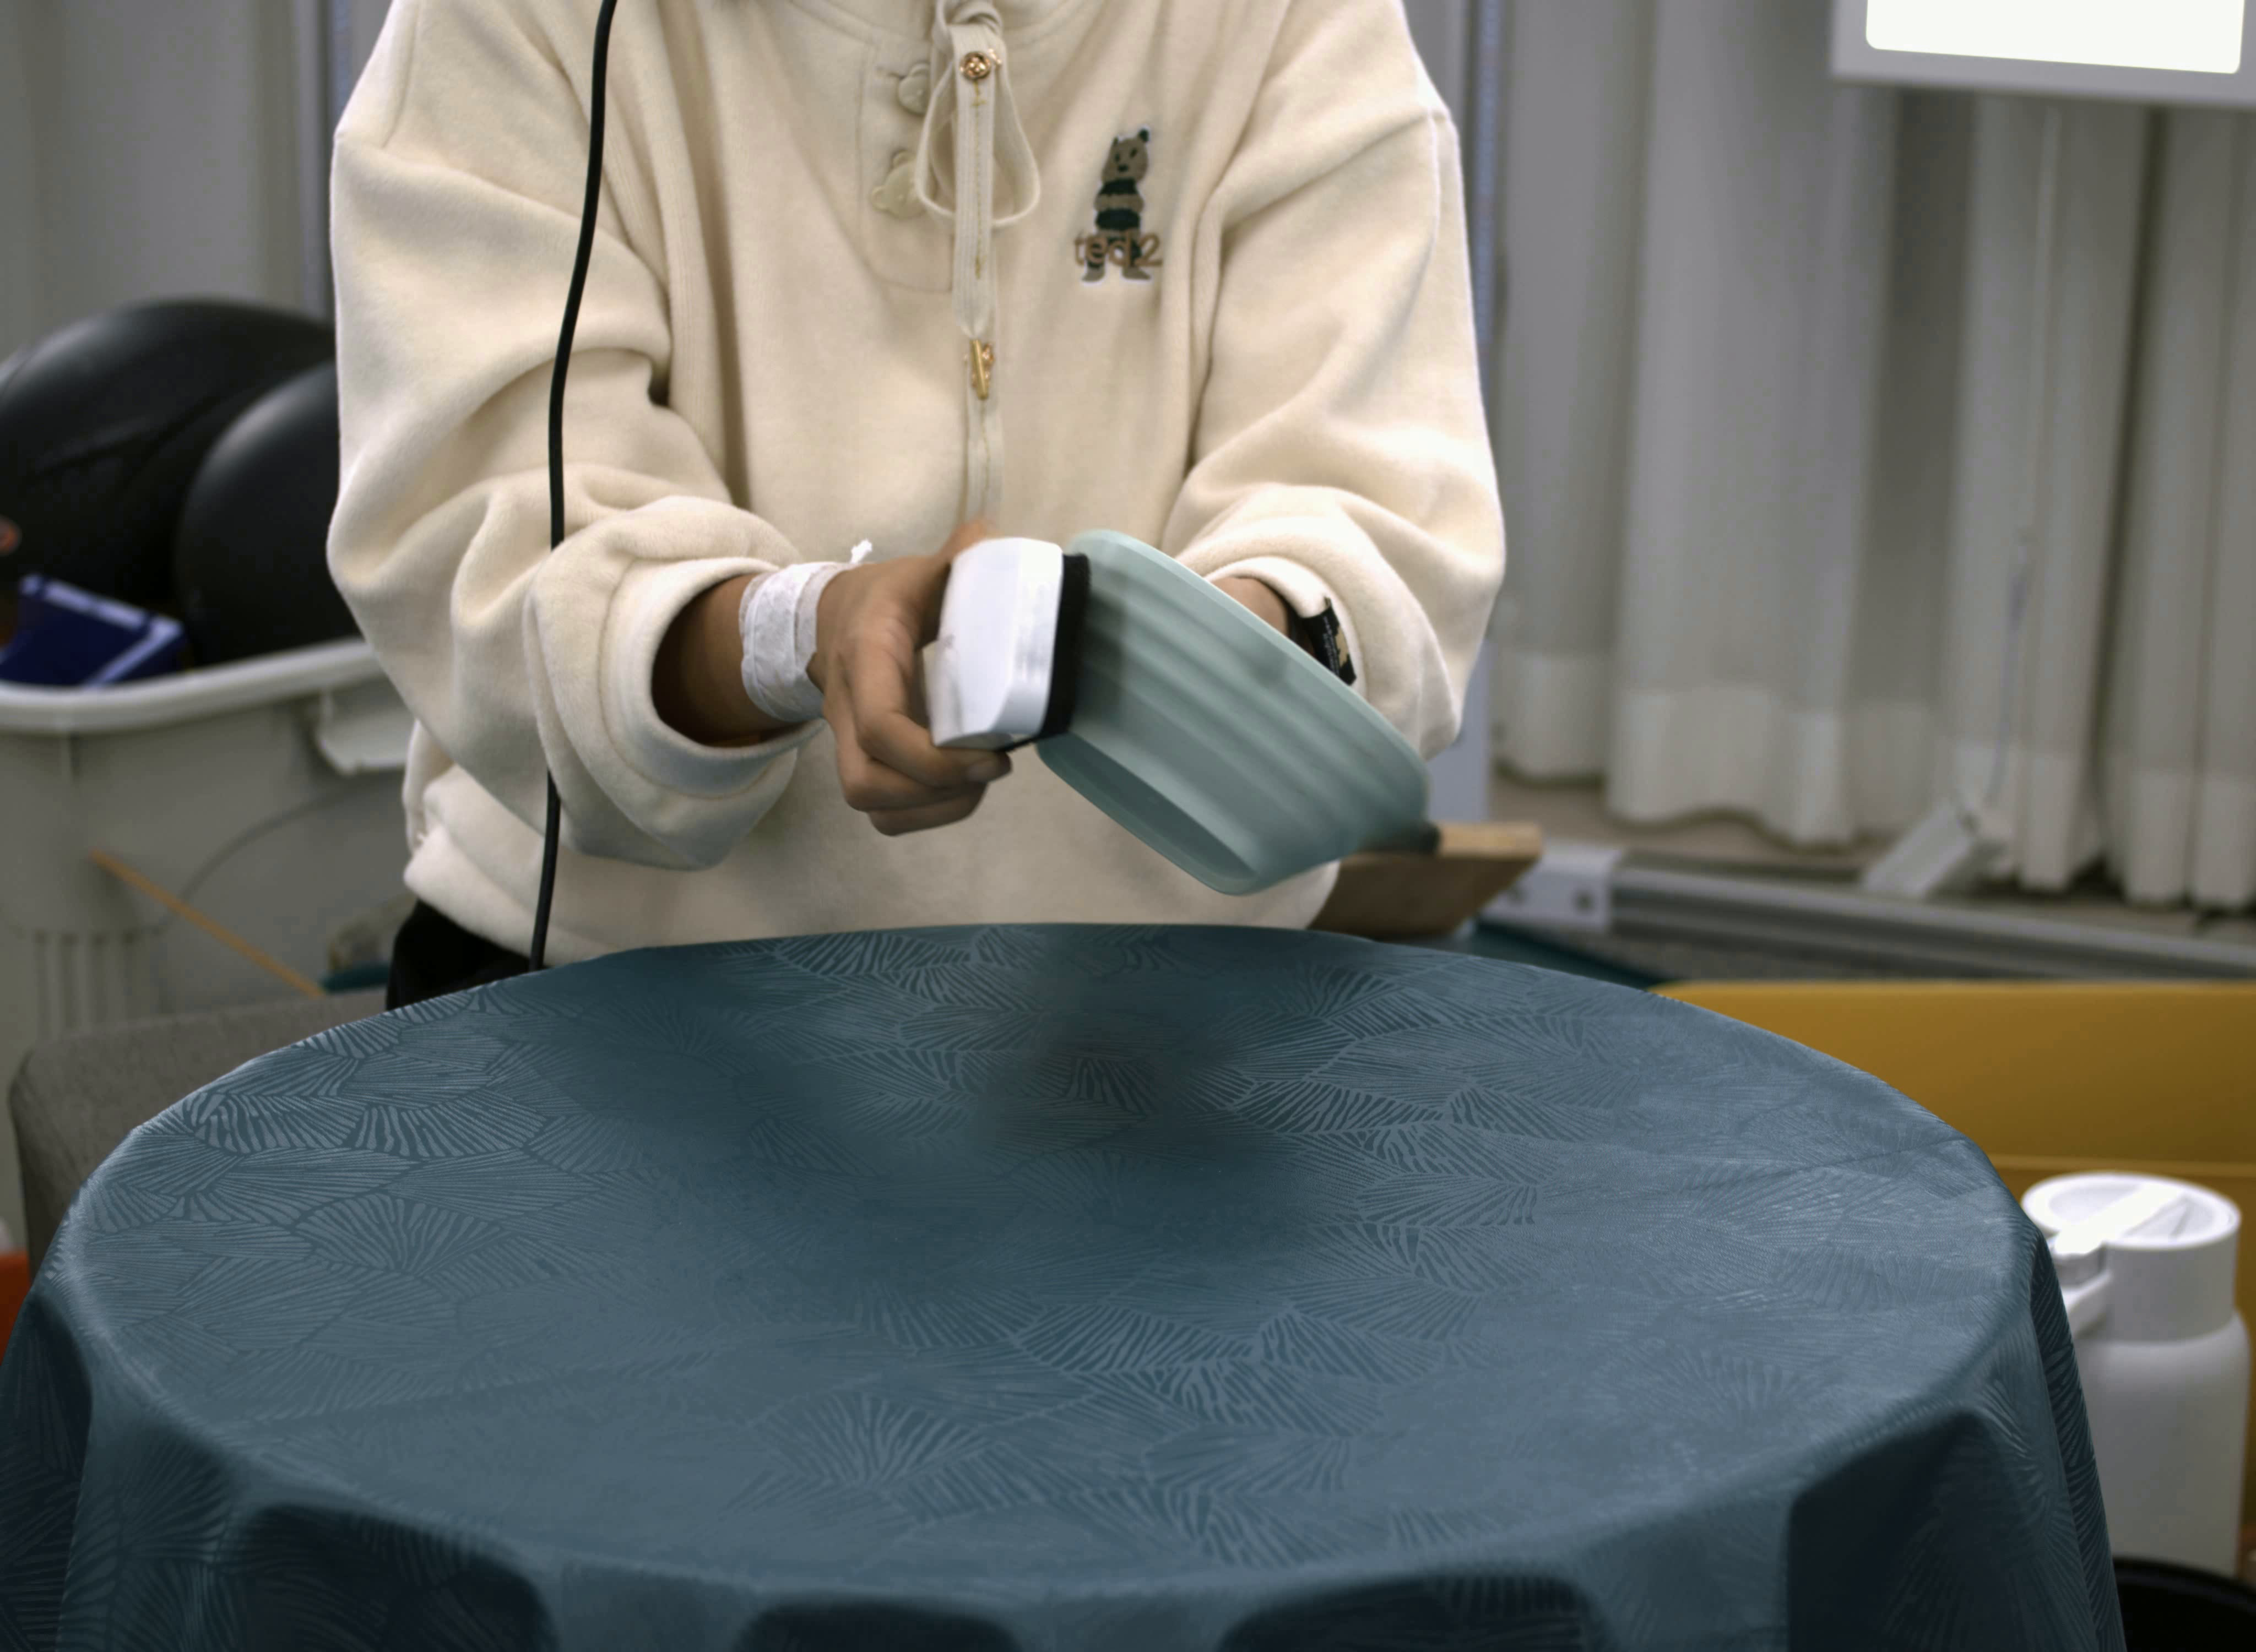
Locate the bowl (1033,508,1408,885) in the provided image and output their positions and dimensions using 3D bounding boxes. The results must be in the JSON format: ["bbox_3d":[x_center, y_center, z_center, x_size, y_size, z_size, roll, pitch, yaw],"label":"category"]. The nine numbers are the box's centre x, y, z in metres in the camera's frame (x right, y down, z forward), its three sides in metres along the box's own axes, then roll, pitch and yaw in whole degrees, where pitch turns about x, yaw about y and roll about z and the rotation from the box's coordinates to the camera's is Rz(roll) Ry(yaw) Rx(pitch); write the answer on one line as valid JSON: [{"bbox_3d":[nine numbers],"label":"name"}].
[{"bbox_3d":[0.017,-0.031,1.651,0.058,0.153,0.149,-49,31,-8],"label":"bowl"}]

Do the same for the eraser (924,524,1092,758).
[{"bbox_3d":[-0.041,-0.057,1.622,0.034,0.063,0.131,8,-5,-11],"label":"eraser"}]
